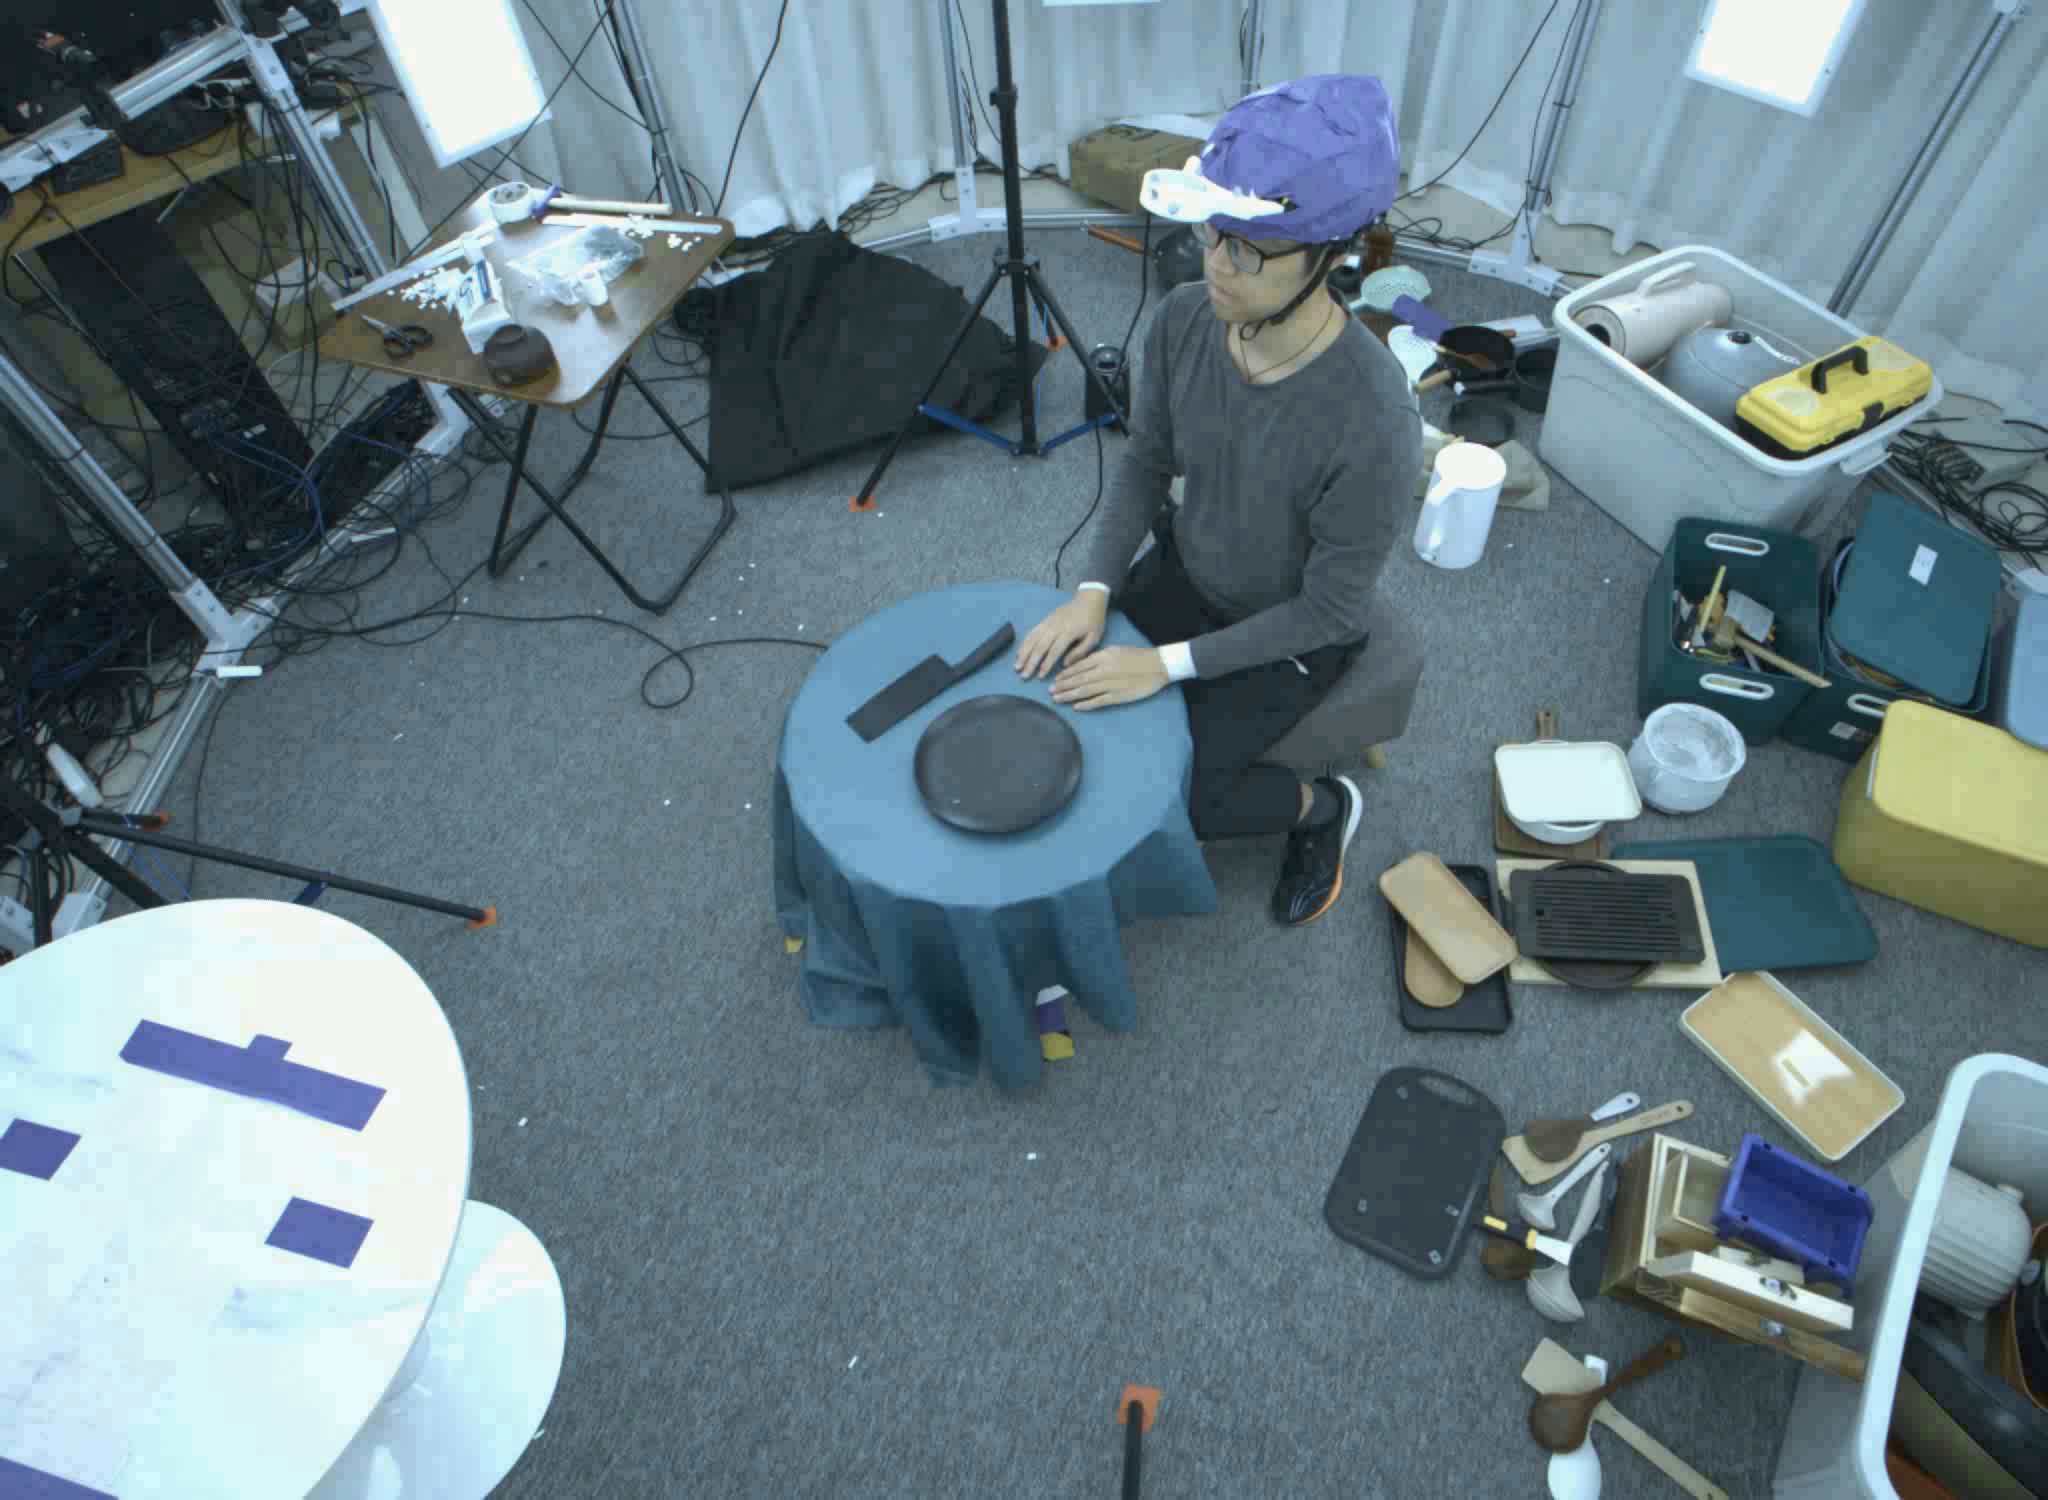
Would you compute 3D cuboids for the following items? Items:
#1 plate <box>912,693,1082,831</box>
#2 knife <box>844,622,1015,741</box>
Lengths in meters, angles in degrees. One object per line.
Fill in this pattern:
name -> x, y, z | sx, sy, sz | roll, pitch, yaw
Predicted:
plate -> -0.038, 0.019, 1.769 | 0.244, 0.023, 0.242 | 0, 54, 1
knife -> -0.138, -0.113, 1.871 | 0.304, 0.021, 0.079 | -33, 59, -19
